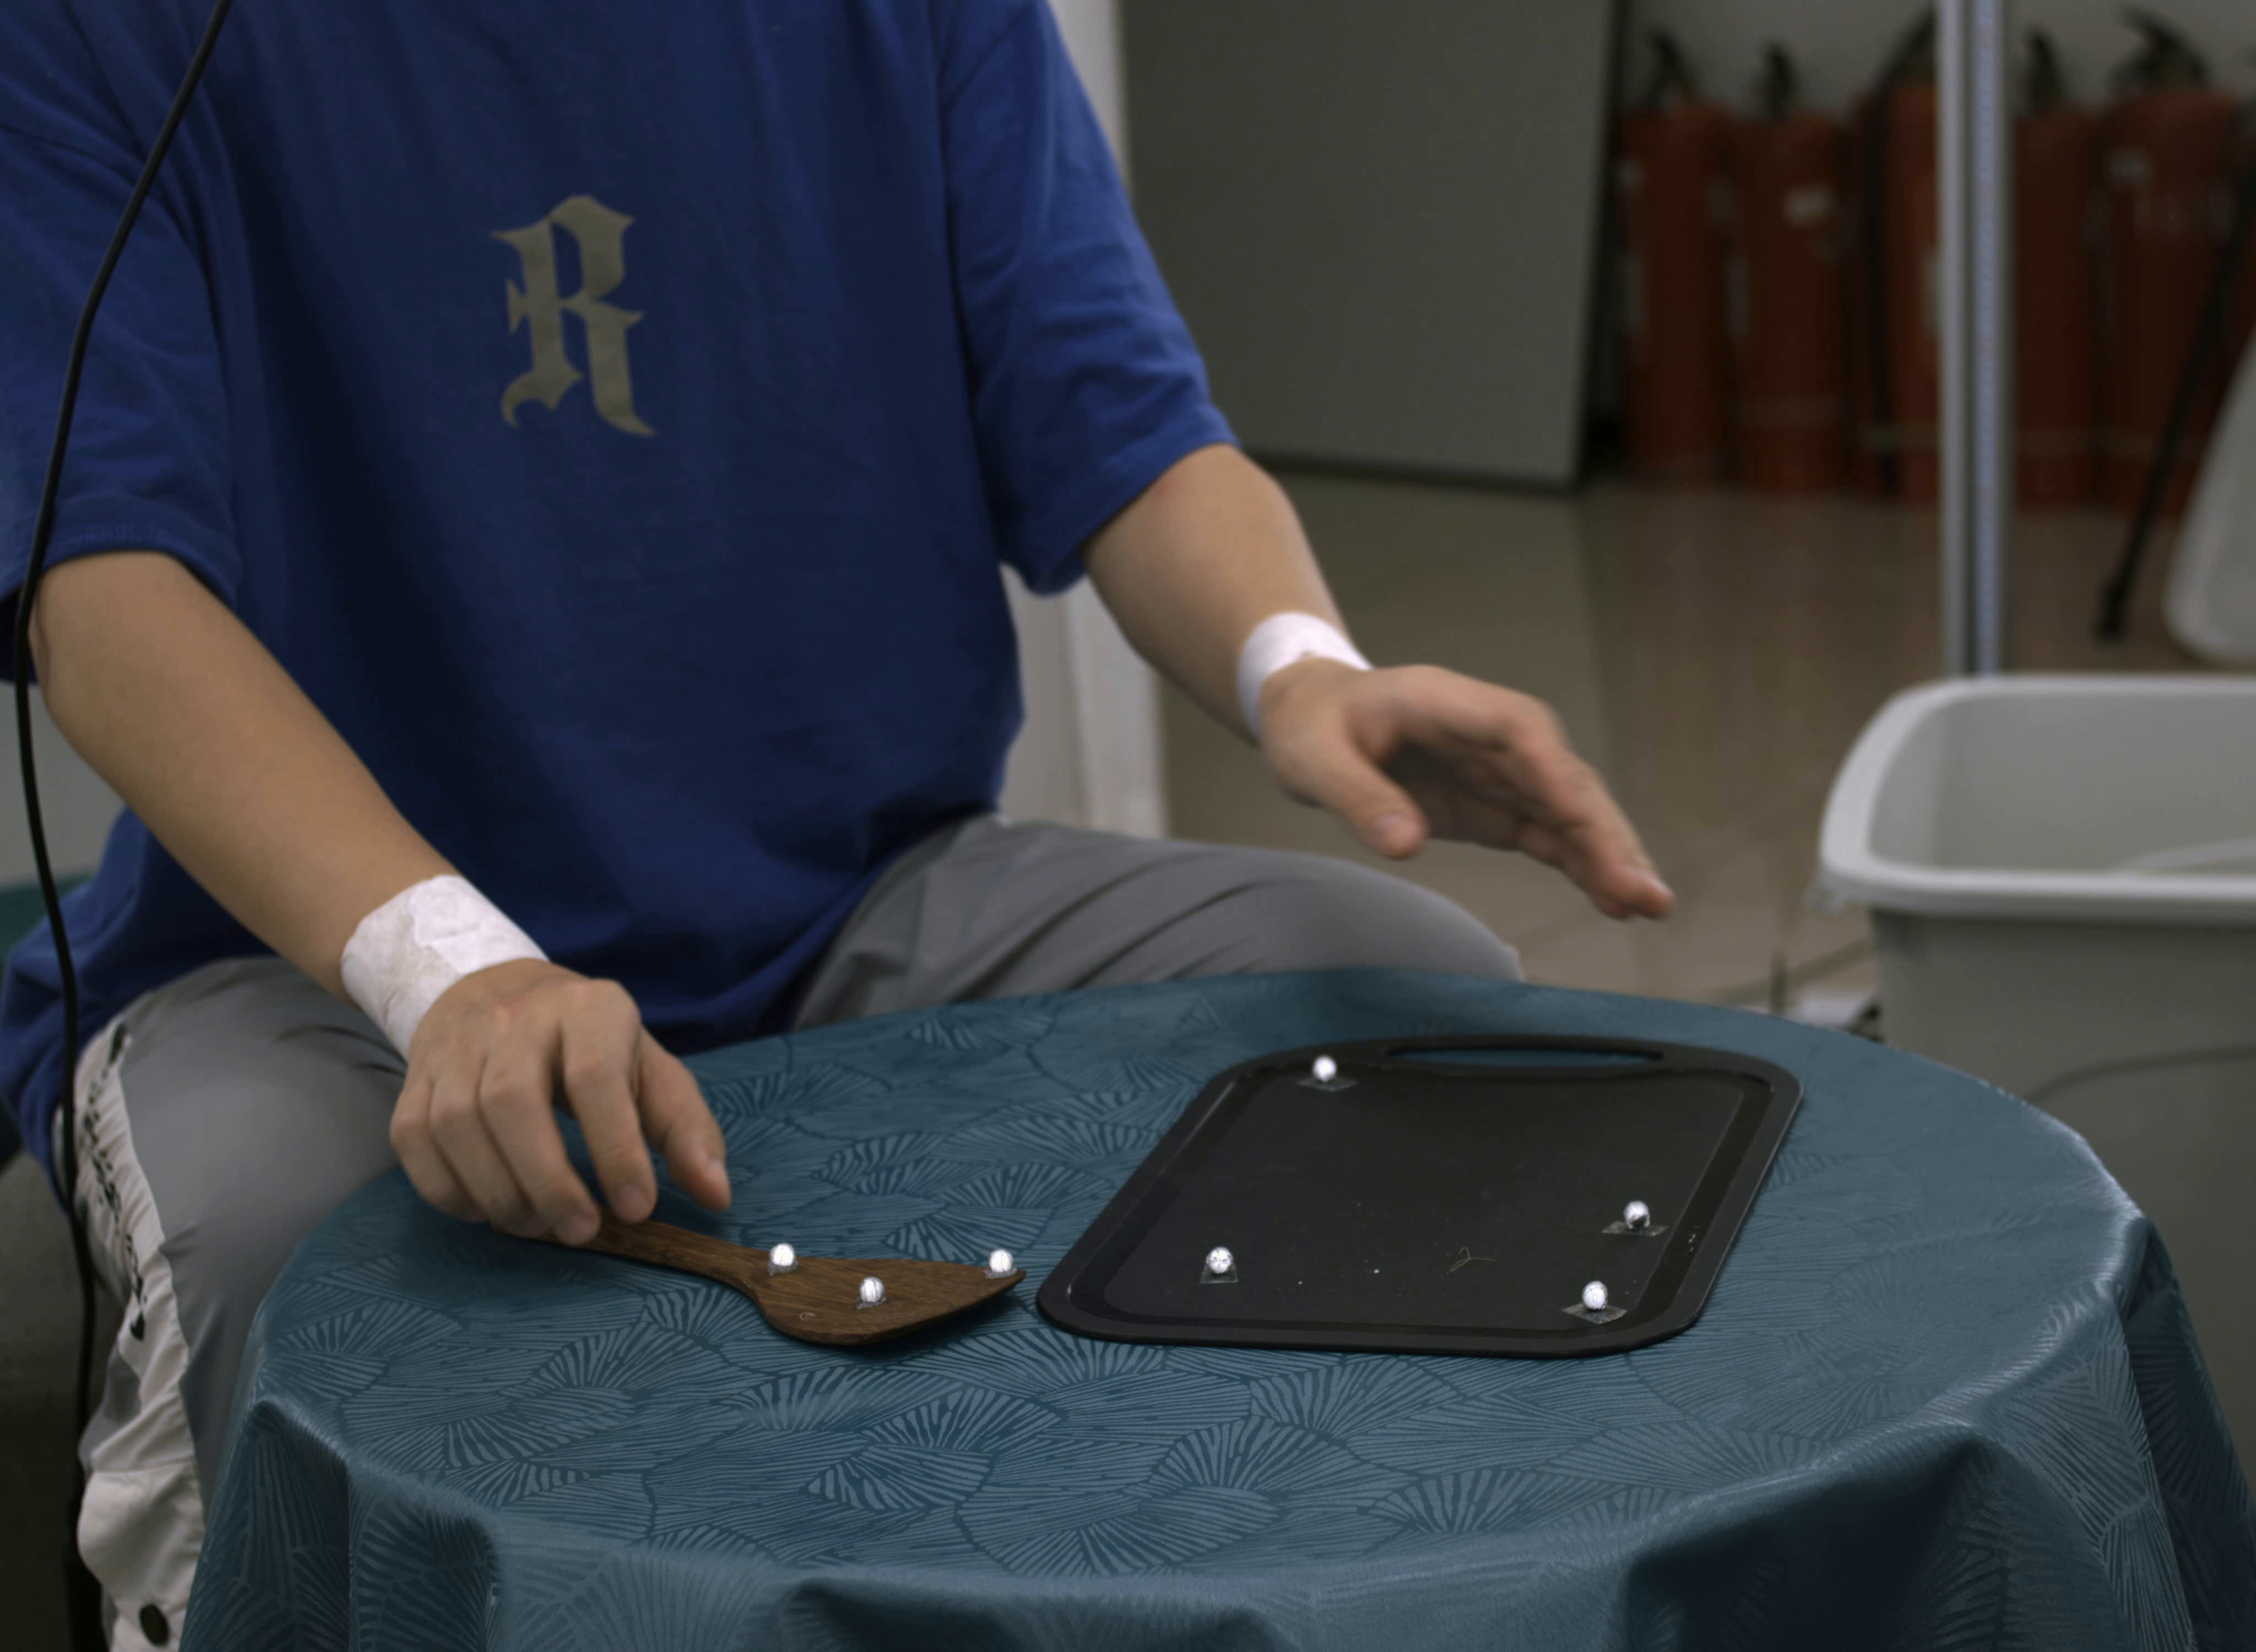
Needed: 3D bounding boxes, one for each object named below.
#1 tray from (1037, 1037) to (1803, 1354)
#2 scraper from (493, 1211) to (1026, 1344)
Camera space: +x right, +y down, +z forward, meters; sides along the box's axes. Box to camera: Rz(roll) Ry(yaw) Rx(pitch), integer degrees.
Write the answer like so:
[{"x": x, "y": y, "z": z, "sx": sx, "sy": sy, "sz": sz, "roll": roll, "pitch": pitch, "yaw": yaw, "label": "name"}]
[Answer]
[{"x": 0.103, "y": 0.114, "z": 1.756, "sx": 0.210, "sy": 0.010, "sz": 0.323, "roll": 0, "pitch": 14, "yaw": 16, "label": "tray"}, {"x": -0.126, "y": 0.141, "z": 1.714, "sx": 0.213, "sy": 0.011, "sz": 0.074, "roll": 7, "pitch": 16, "yaw": 43, "label": "scraper"}]
